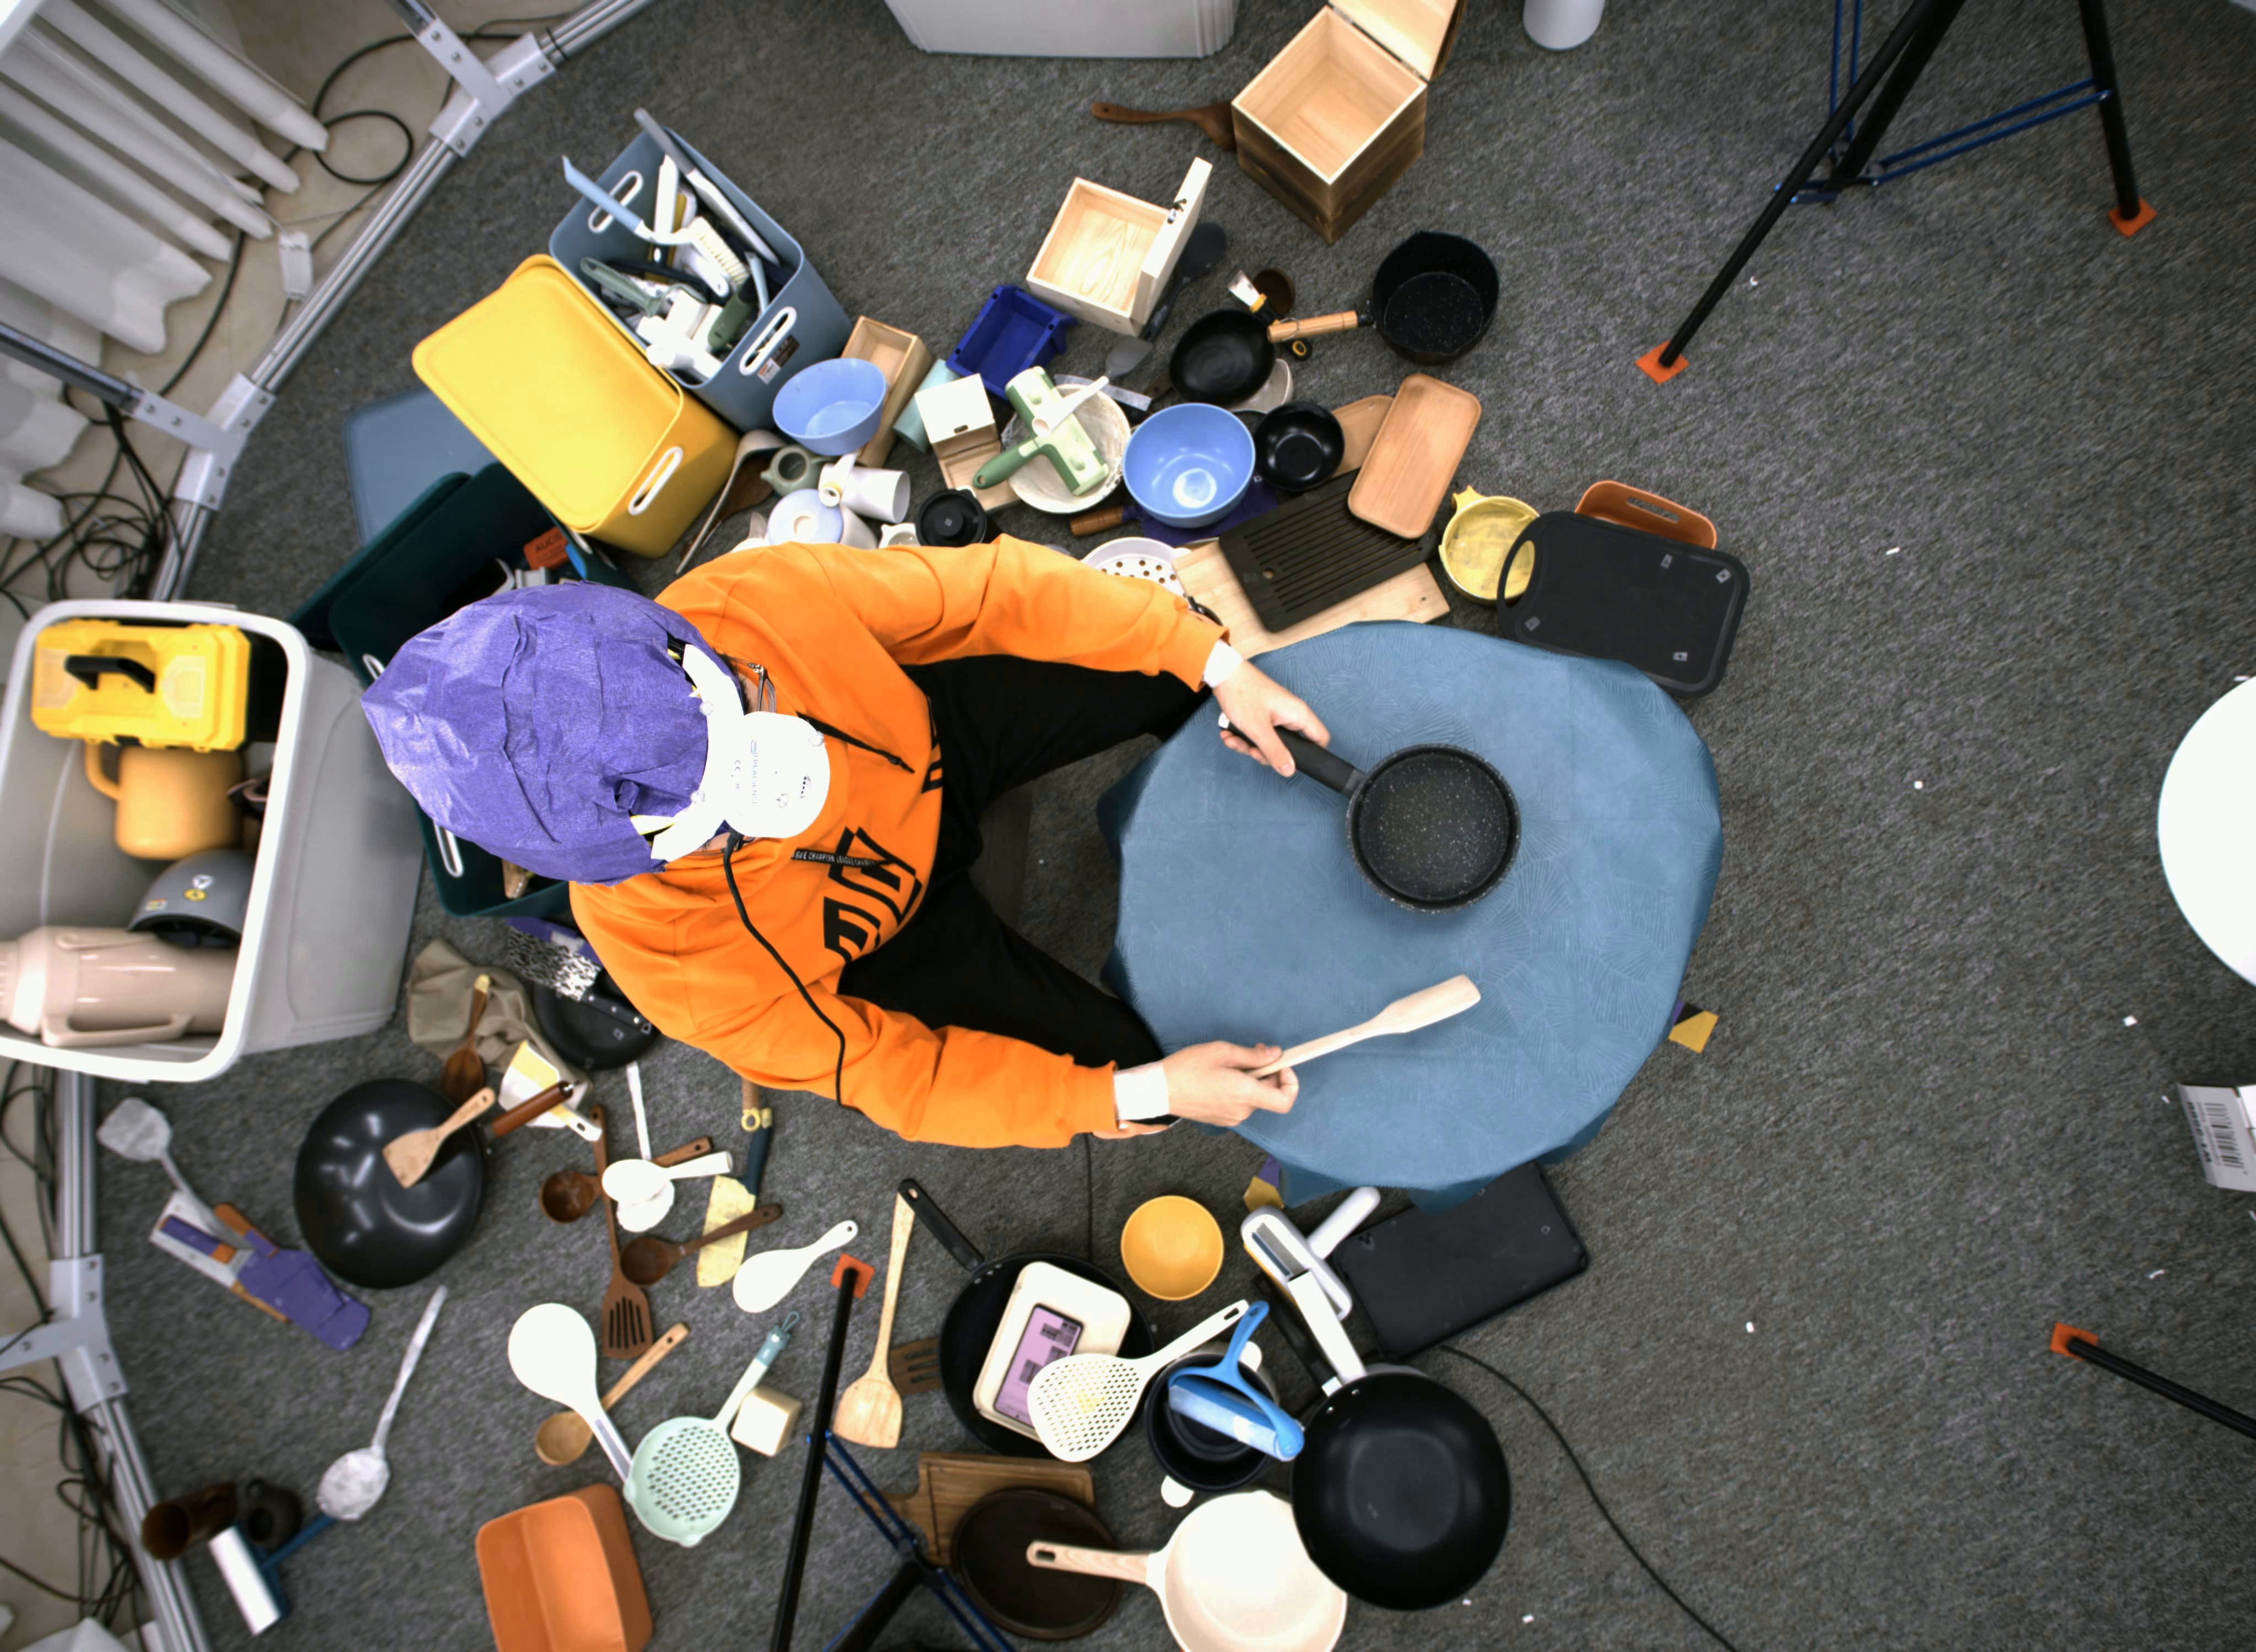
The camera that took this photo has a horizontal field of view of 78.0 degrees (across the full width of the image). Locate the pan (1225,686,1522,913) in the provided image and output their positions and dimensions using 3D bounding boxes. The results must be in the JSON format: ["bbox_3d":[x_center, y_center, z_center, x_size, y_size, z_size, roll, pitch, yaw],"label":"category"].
[{"bbox_3d":[0.246,-0.042,1.418,0.328,0.086,0.173,33,98,8],"label":"pan"}]

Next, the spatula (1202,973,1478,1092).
[{"bbox_3d":[0.212,0.215,1.409,0.294,0.071,0.011,-21,106,6],"label":"spatula"}]
